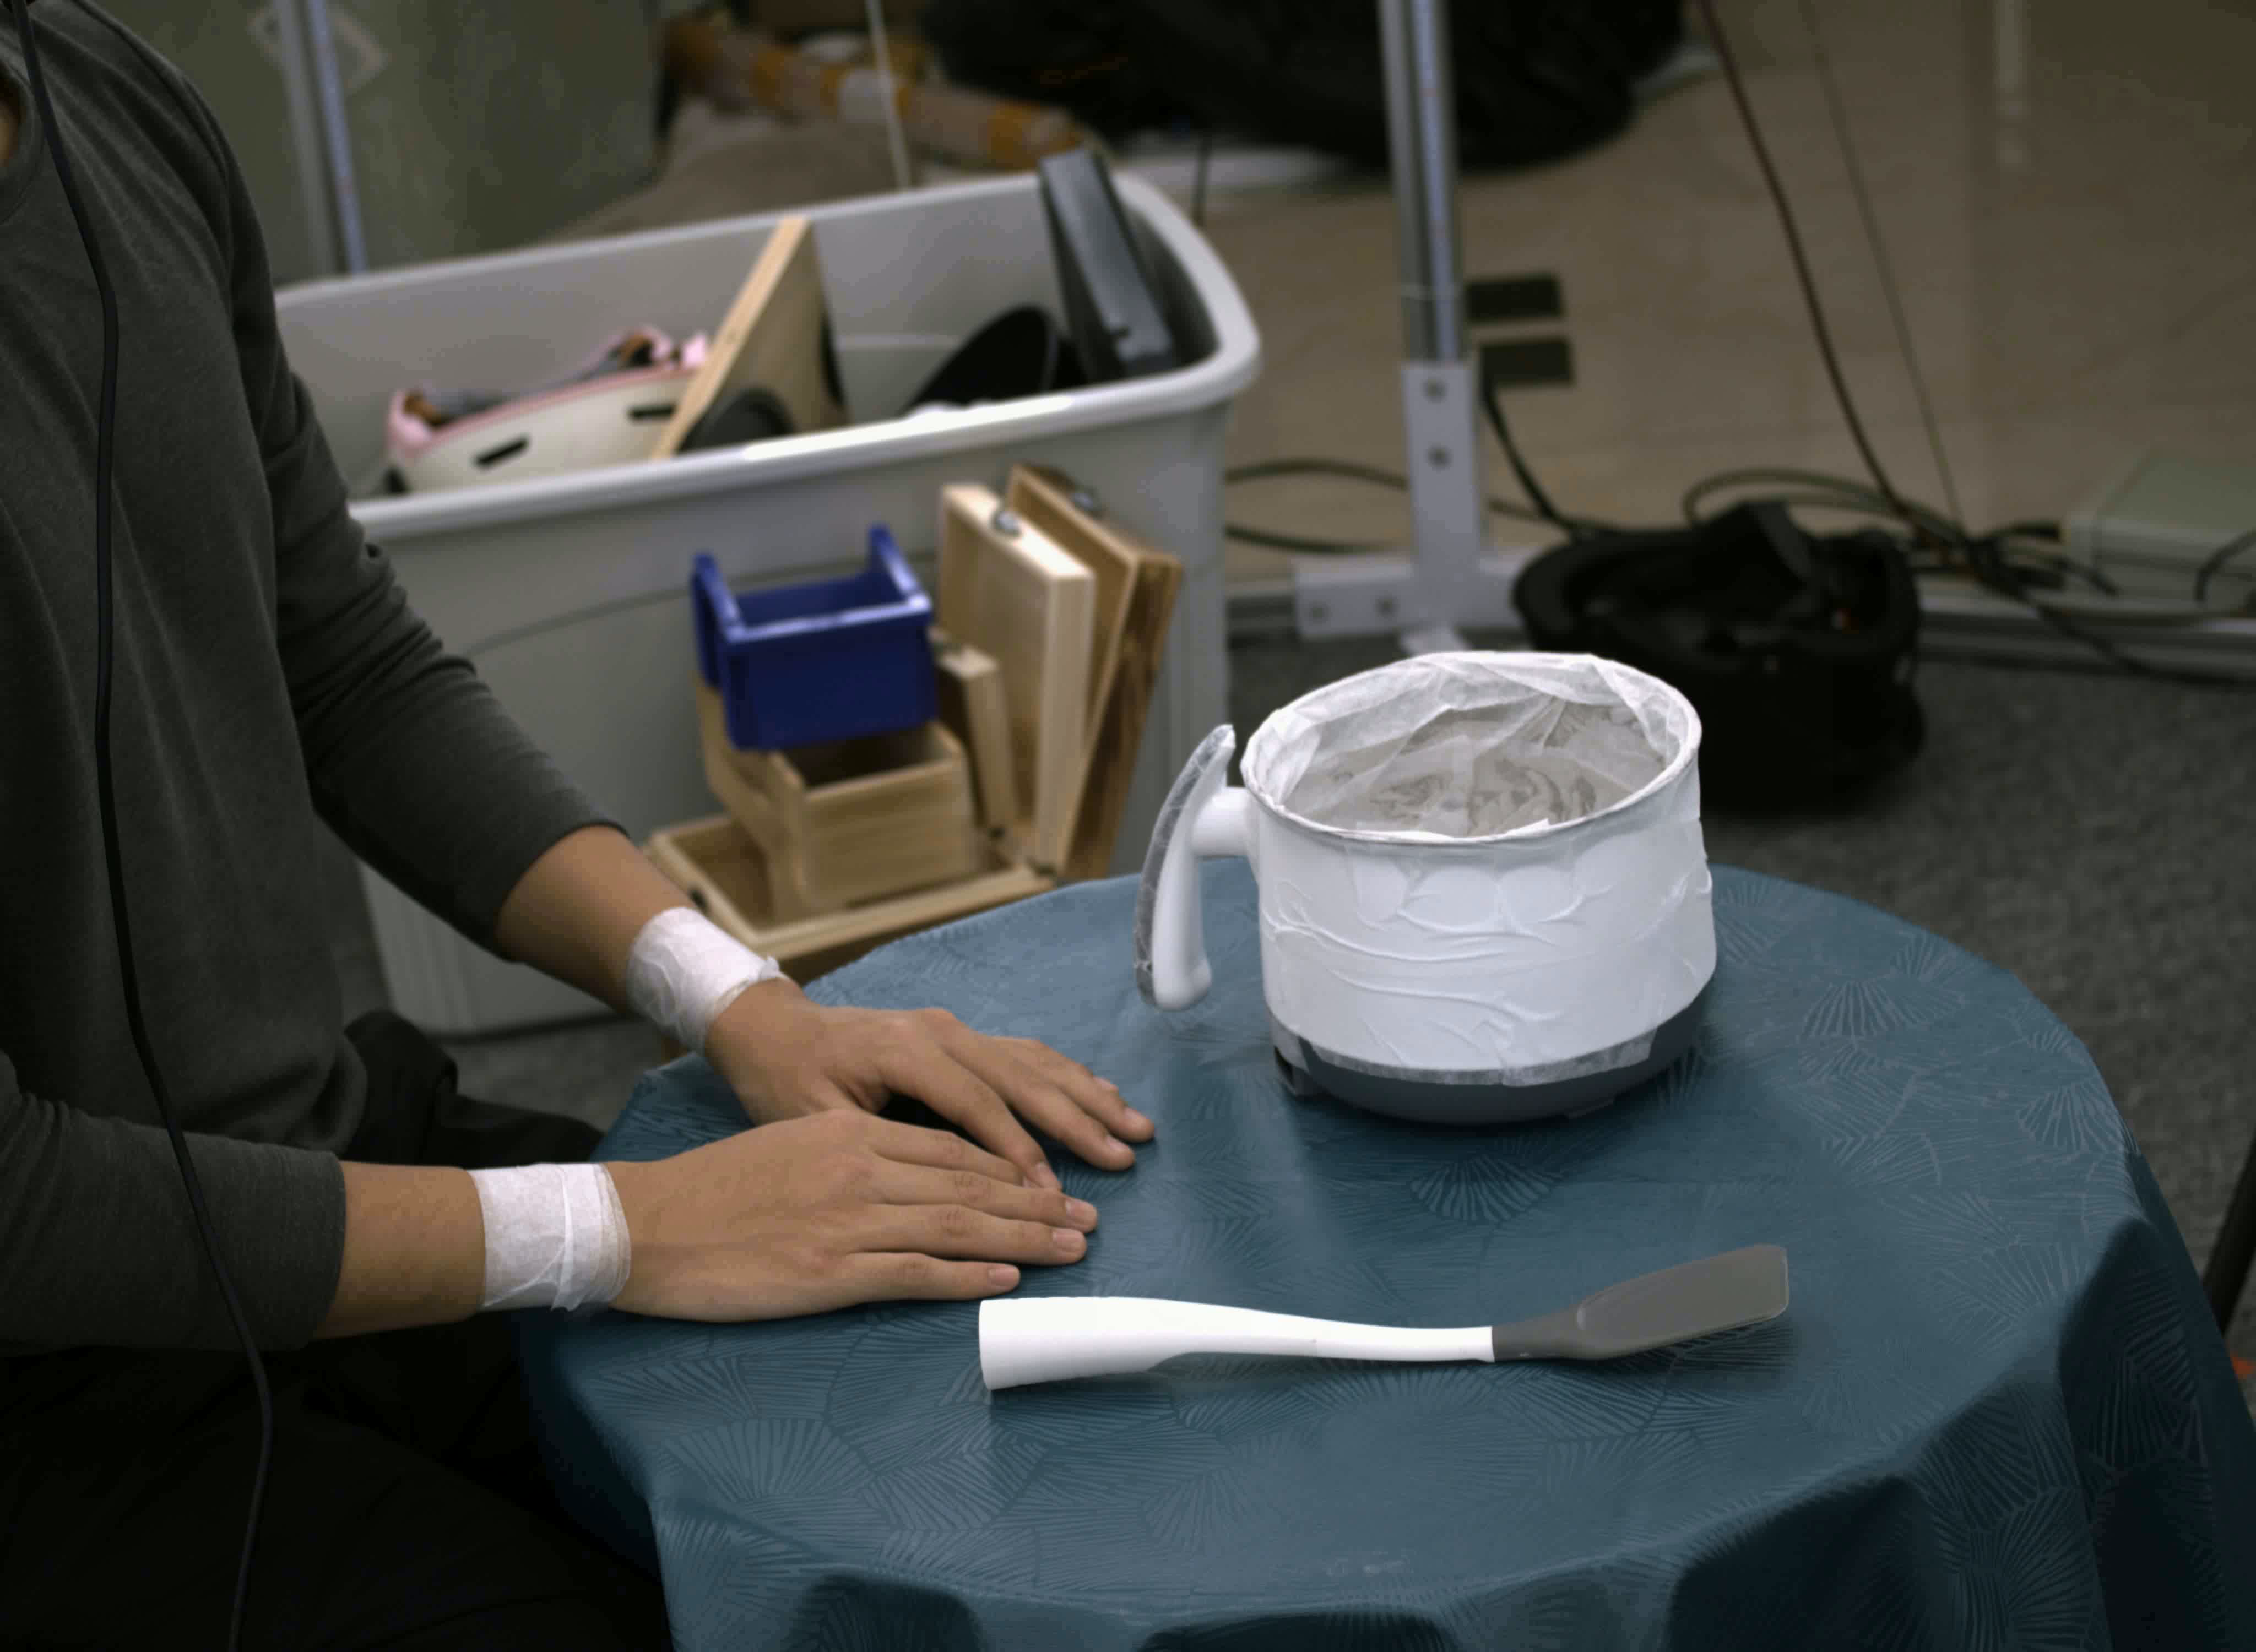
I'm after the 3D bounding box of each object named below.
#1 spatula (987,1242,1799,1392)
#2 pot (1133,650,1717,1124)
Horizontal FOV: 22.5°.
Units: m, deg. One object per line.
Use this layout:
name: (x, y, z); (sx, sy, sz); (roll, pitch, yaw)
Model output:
spatula: (0.094, 0.176, 2.009); (0.287, 0.032, 0.058); (-4, 21, 7)
pot: (0.112, 0.025, 2.204); (0.233, 0.139, 0.176); (1, 26, 16)
